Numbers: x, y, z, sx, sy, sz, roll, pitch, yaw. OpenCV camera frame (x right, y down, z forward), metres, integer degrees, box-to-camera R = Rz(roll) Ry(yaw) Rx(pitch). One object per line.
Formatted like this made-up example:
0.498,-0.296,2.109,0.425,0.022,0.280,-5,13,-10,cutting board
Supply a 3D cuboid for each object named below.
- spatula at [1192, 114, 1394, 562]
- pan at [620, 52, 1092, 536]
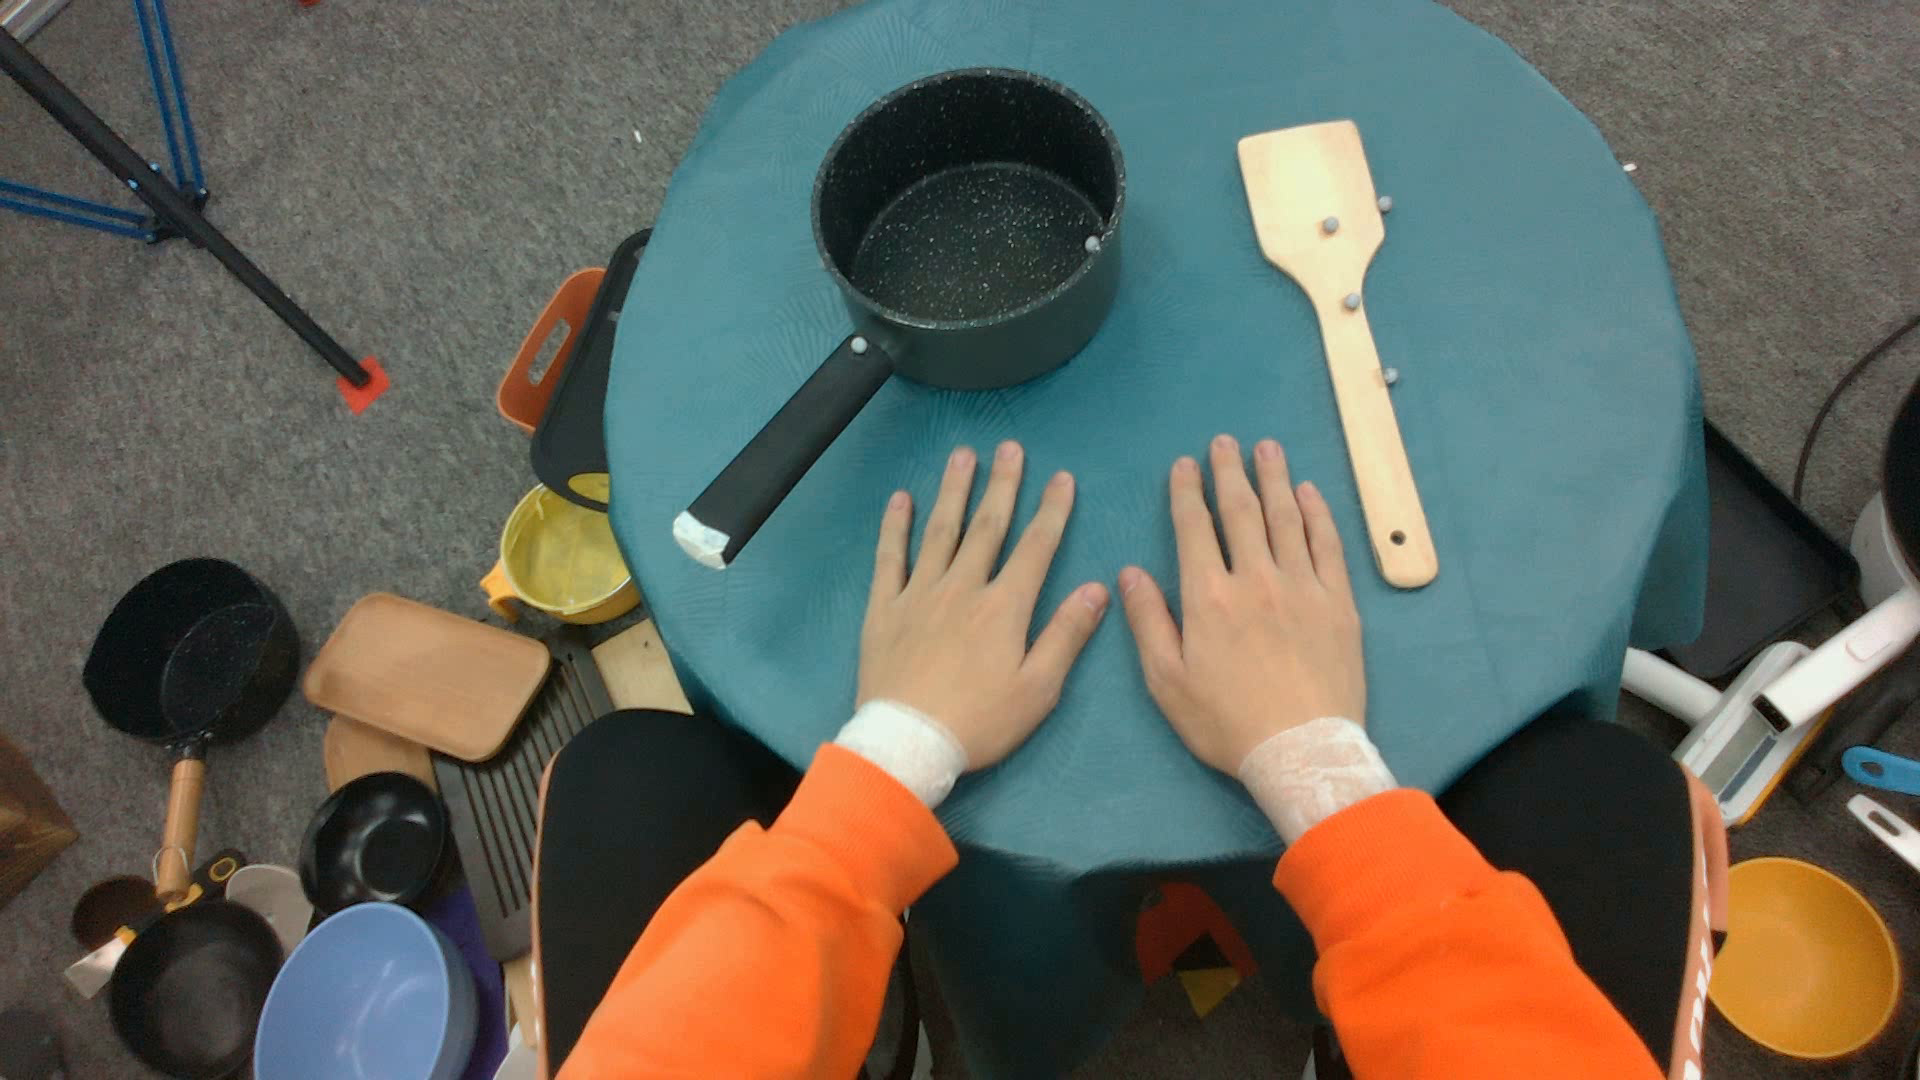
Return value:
0.192,-0.120,0.763,0.072,0.010,0.294,-8,64,1,spatula
-0.056,-0.121,0.744,0.172,0.086,0.330,30,71,20,pan
